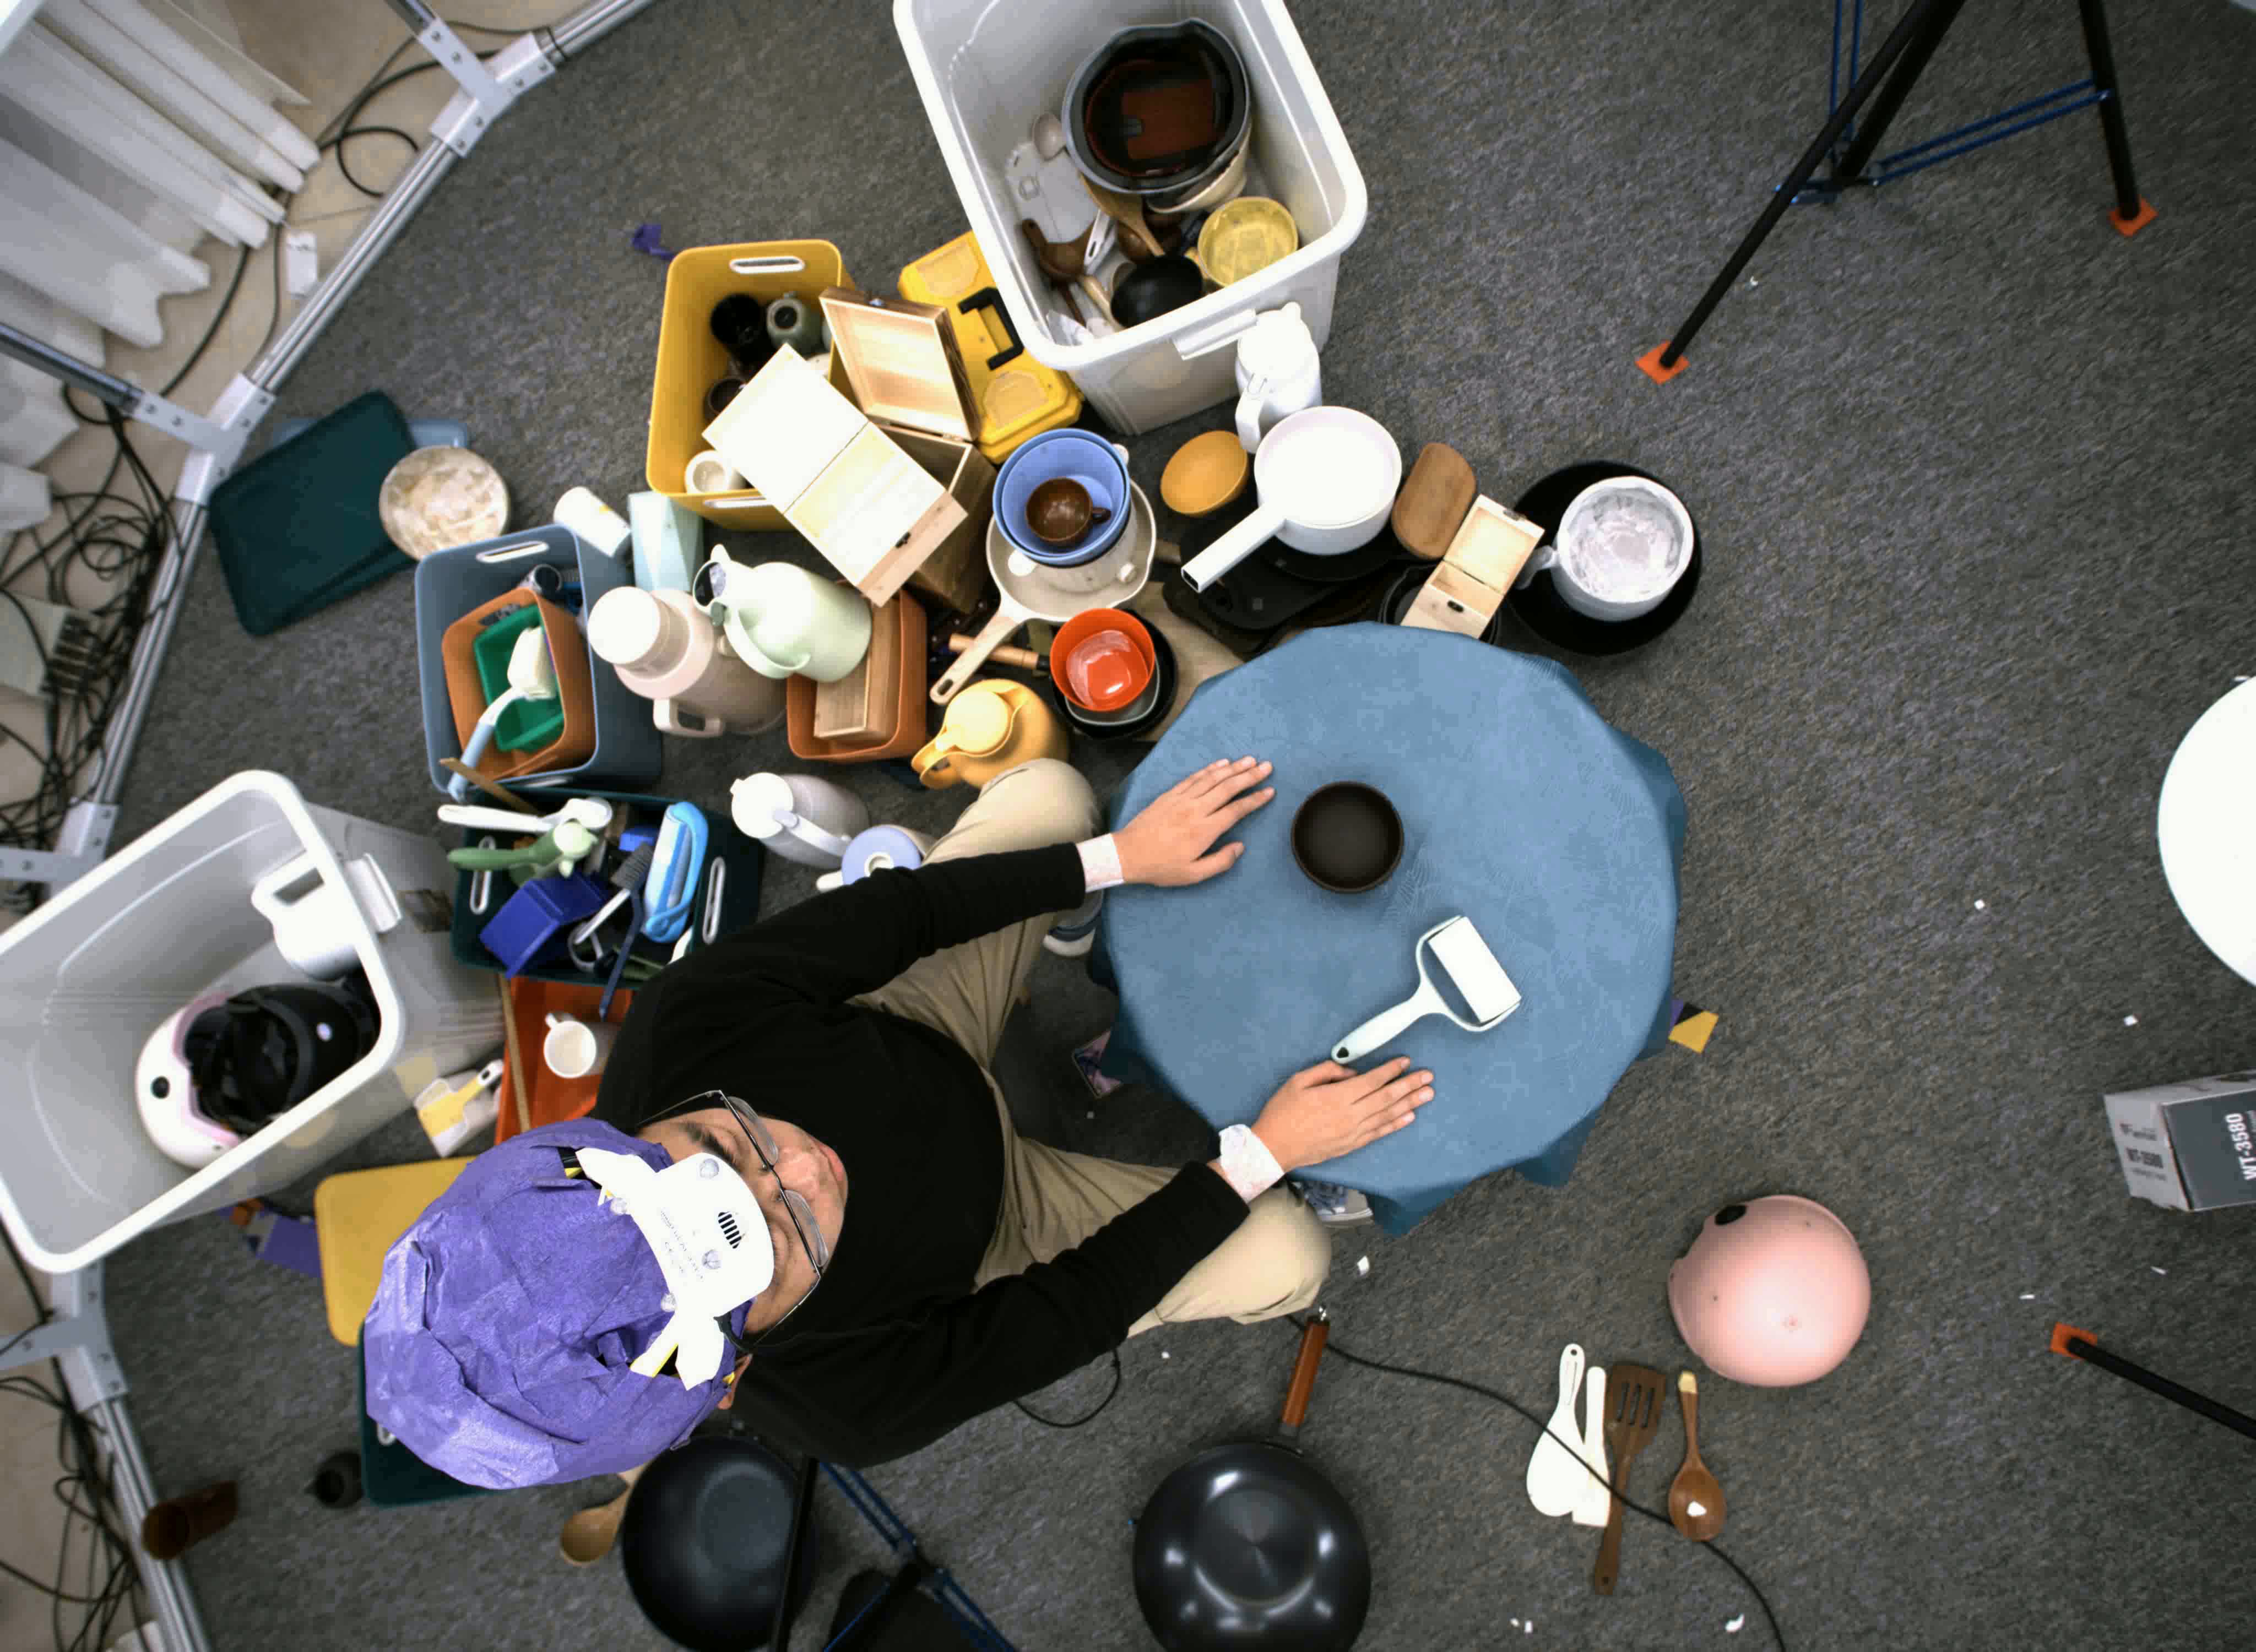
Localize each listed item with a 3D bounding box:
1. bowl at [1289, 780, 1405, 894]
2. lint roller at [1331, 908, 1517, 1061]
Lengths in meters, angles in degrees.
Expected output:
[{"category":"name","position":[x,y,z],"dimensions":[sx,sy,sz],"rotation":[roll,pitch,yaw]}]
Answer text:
[{"category":"bowl","position":[0.227,0.012,1.435],"dimensions":[0.118,0.070,0.117],"rotation":[-1,87,11]},{"category":"lint roller","position":[0.291,0.179,1.428],"dimensions":[0.199,0.048,0.116],"rotation":[-35,82,8]}]
